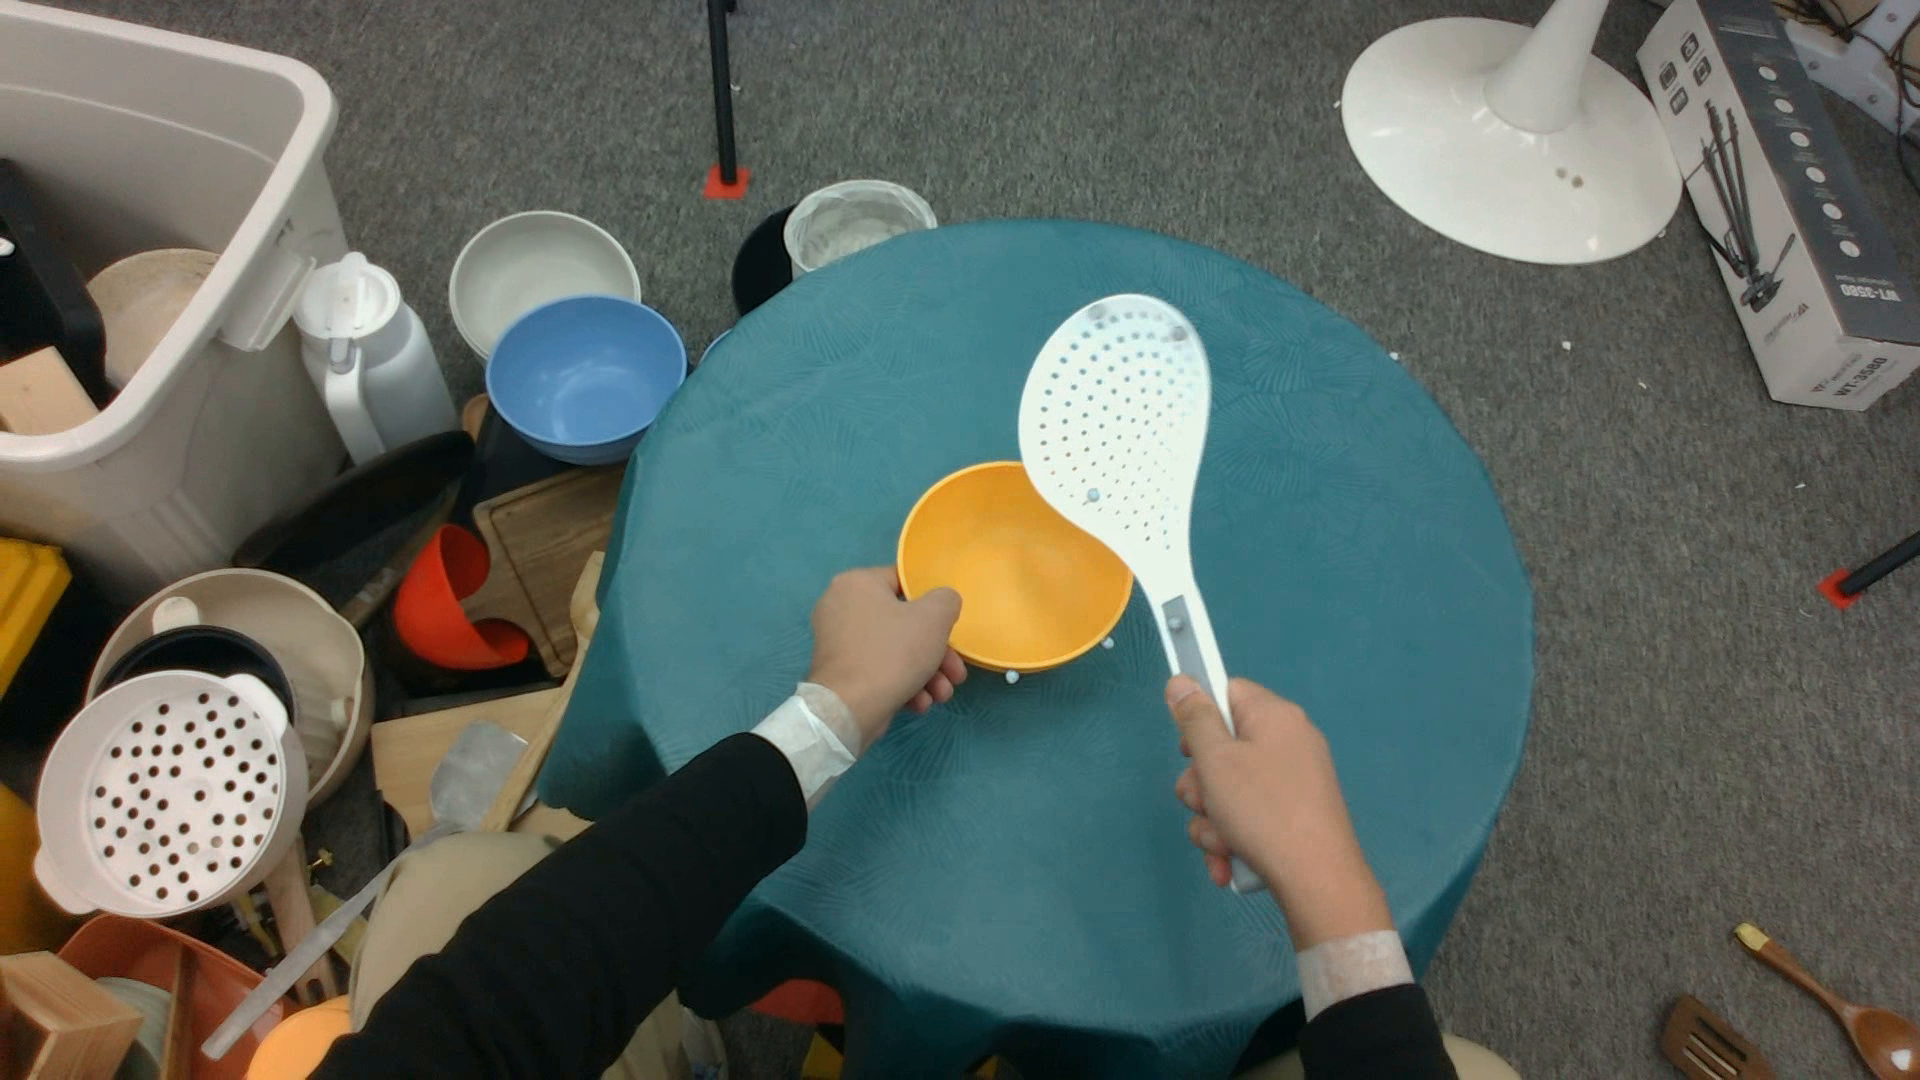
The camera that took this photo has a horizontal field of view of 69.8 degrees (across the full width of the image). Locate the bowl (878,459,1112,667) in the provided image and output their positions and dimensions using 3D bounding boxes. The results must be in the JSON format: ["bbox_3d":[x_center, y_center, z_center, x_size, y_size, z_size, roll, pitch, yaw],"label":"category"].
[{"bbox_3d":[0.019,0.024,0.856,0.145,0.060,0.146,3,57,-5],"label":"bowl"}]

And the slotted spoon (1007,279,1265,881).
[{"bbox_3d":[0.108,0.012,0.758,0.046,0.135,0.351,23,48,-46],"label":"slotted spoon"}]
